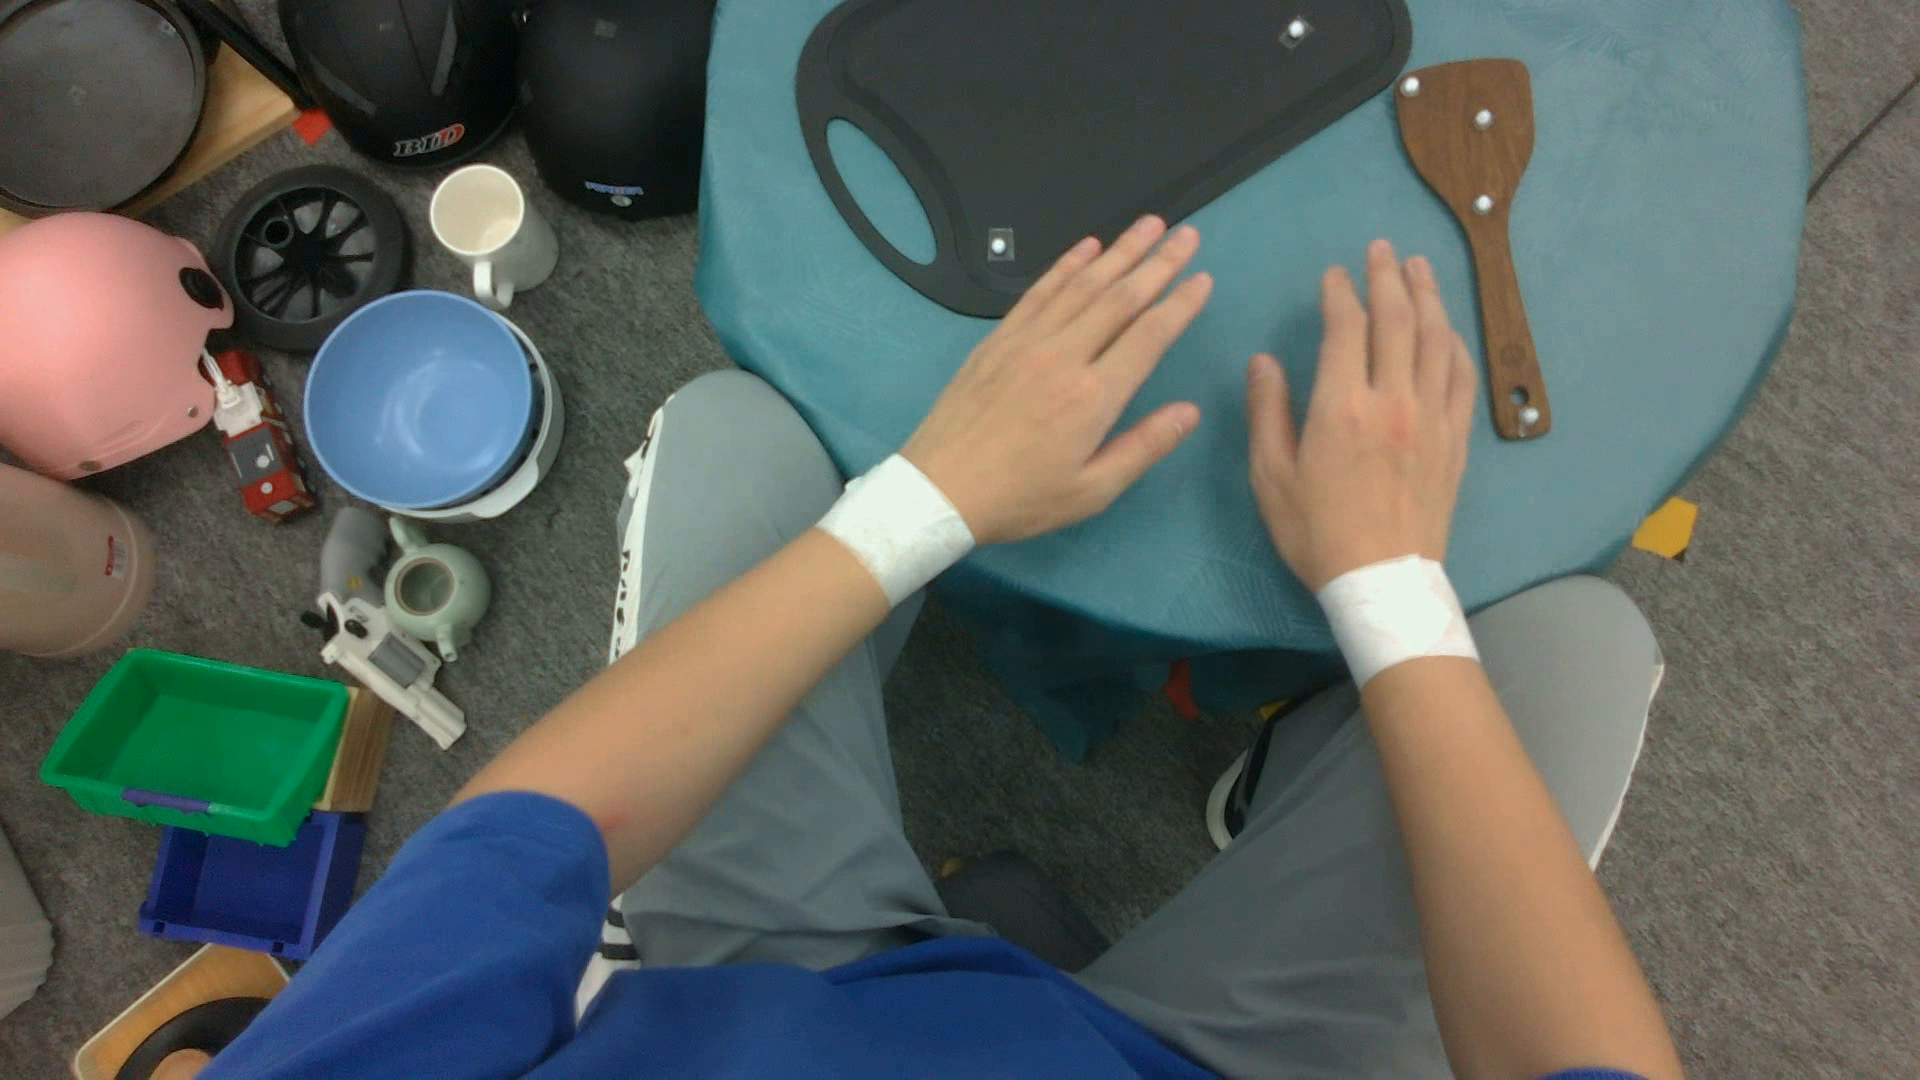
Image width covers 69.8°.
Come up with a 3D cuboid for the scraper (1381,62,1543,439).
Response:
[{"bbox_3d":[0.279,-0.157,0.740,0.076,0.011,0.211,-7,80,1],"label":"scraper"}]

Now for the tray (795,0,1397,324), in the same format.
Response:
[{"bbox_3d":[0.069,-0.263,0.769,0.325,0.010,0.211,-34,80,-4],"label":"tray"}]
